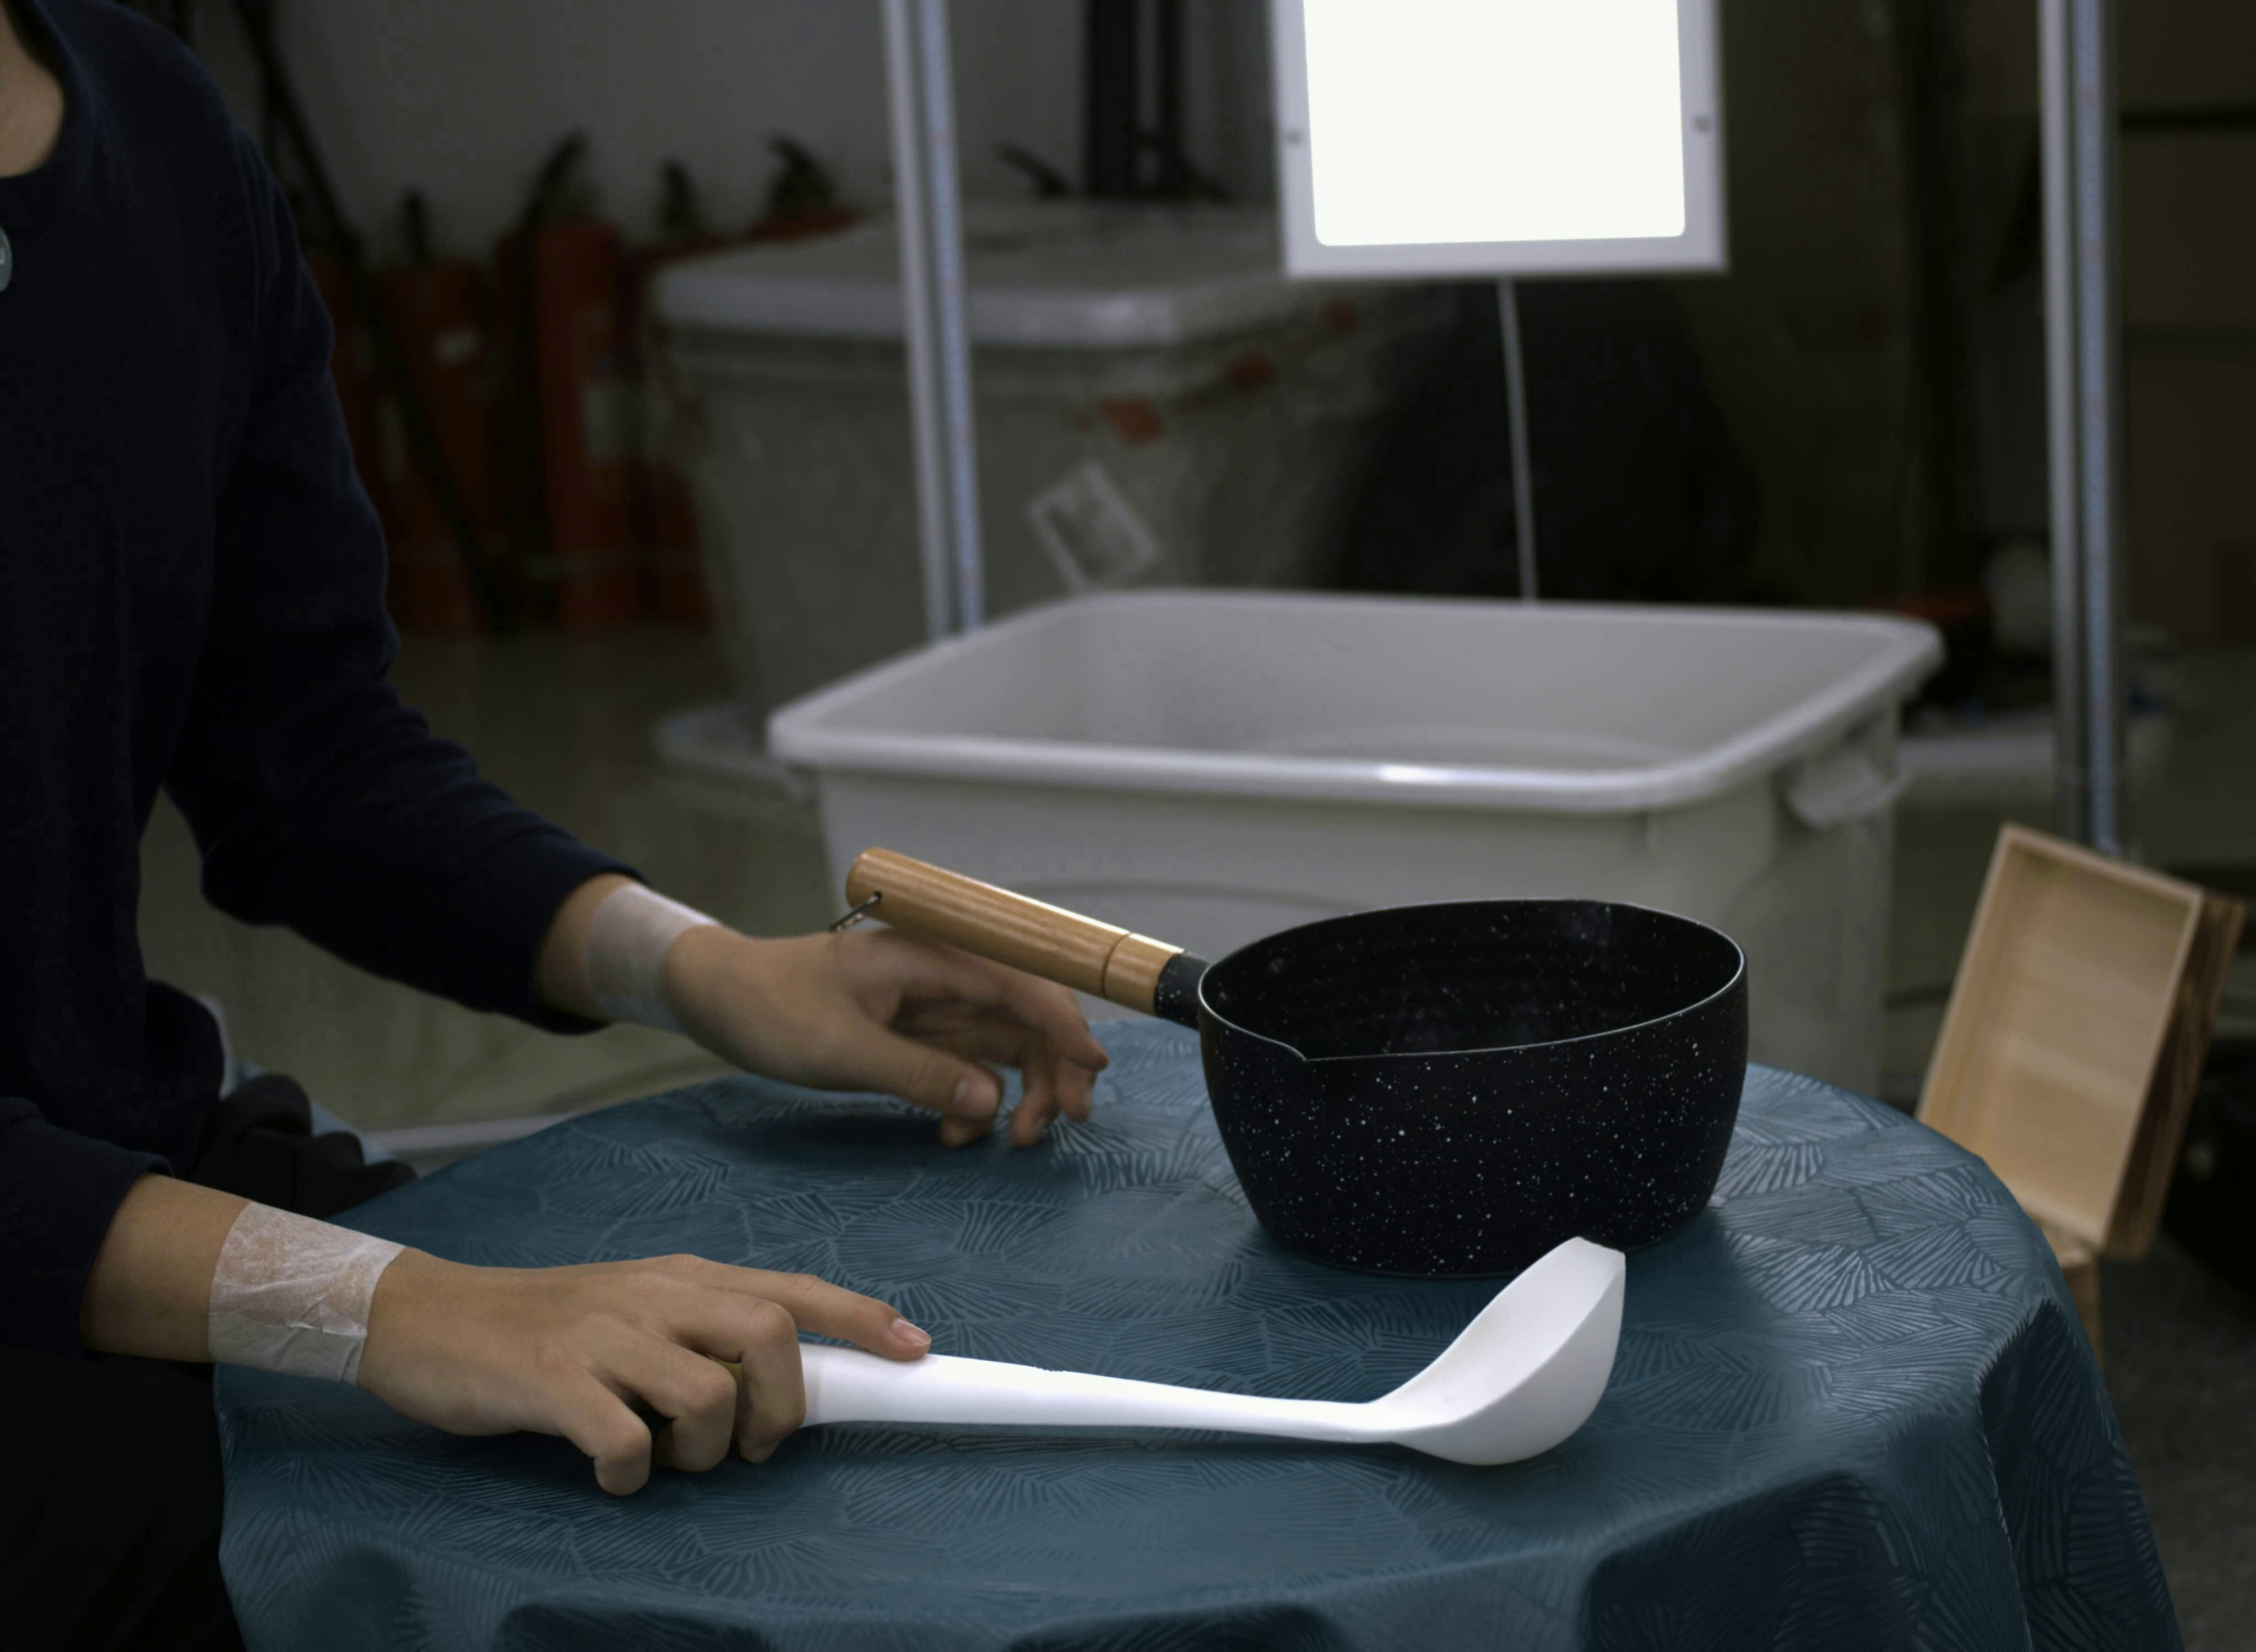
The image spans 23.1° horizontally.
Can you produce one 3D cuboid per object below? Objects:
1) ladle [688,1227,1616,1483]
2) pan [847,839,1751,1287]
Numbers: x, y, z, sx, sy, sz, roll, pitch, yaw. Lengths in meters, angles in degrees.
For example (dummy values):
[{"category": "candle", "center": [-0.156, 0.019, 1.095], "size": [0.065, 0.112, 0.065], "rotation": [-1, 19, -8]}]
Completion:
[{"category": "ladle", "center": [0.005, 0.159, 1.636], "size": [0.297, 0.070, 0.089], "rotation": [-1, 31, 20]}, {"category": "pan", "center": [0.049, 0.072, 1.875], "size": [0.349, 0.108, 0.202], "rotation": [5, 18, 32]}]
